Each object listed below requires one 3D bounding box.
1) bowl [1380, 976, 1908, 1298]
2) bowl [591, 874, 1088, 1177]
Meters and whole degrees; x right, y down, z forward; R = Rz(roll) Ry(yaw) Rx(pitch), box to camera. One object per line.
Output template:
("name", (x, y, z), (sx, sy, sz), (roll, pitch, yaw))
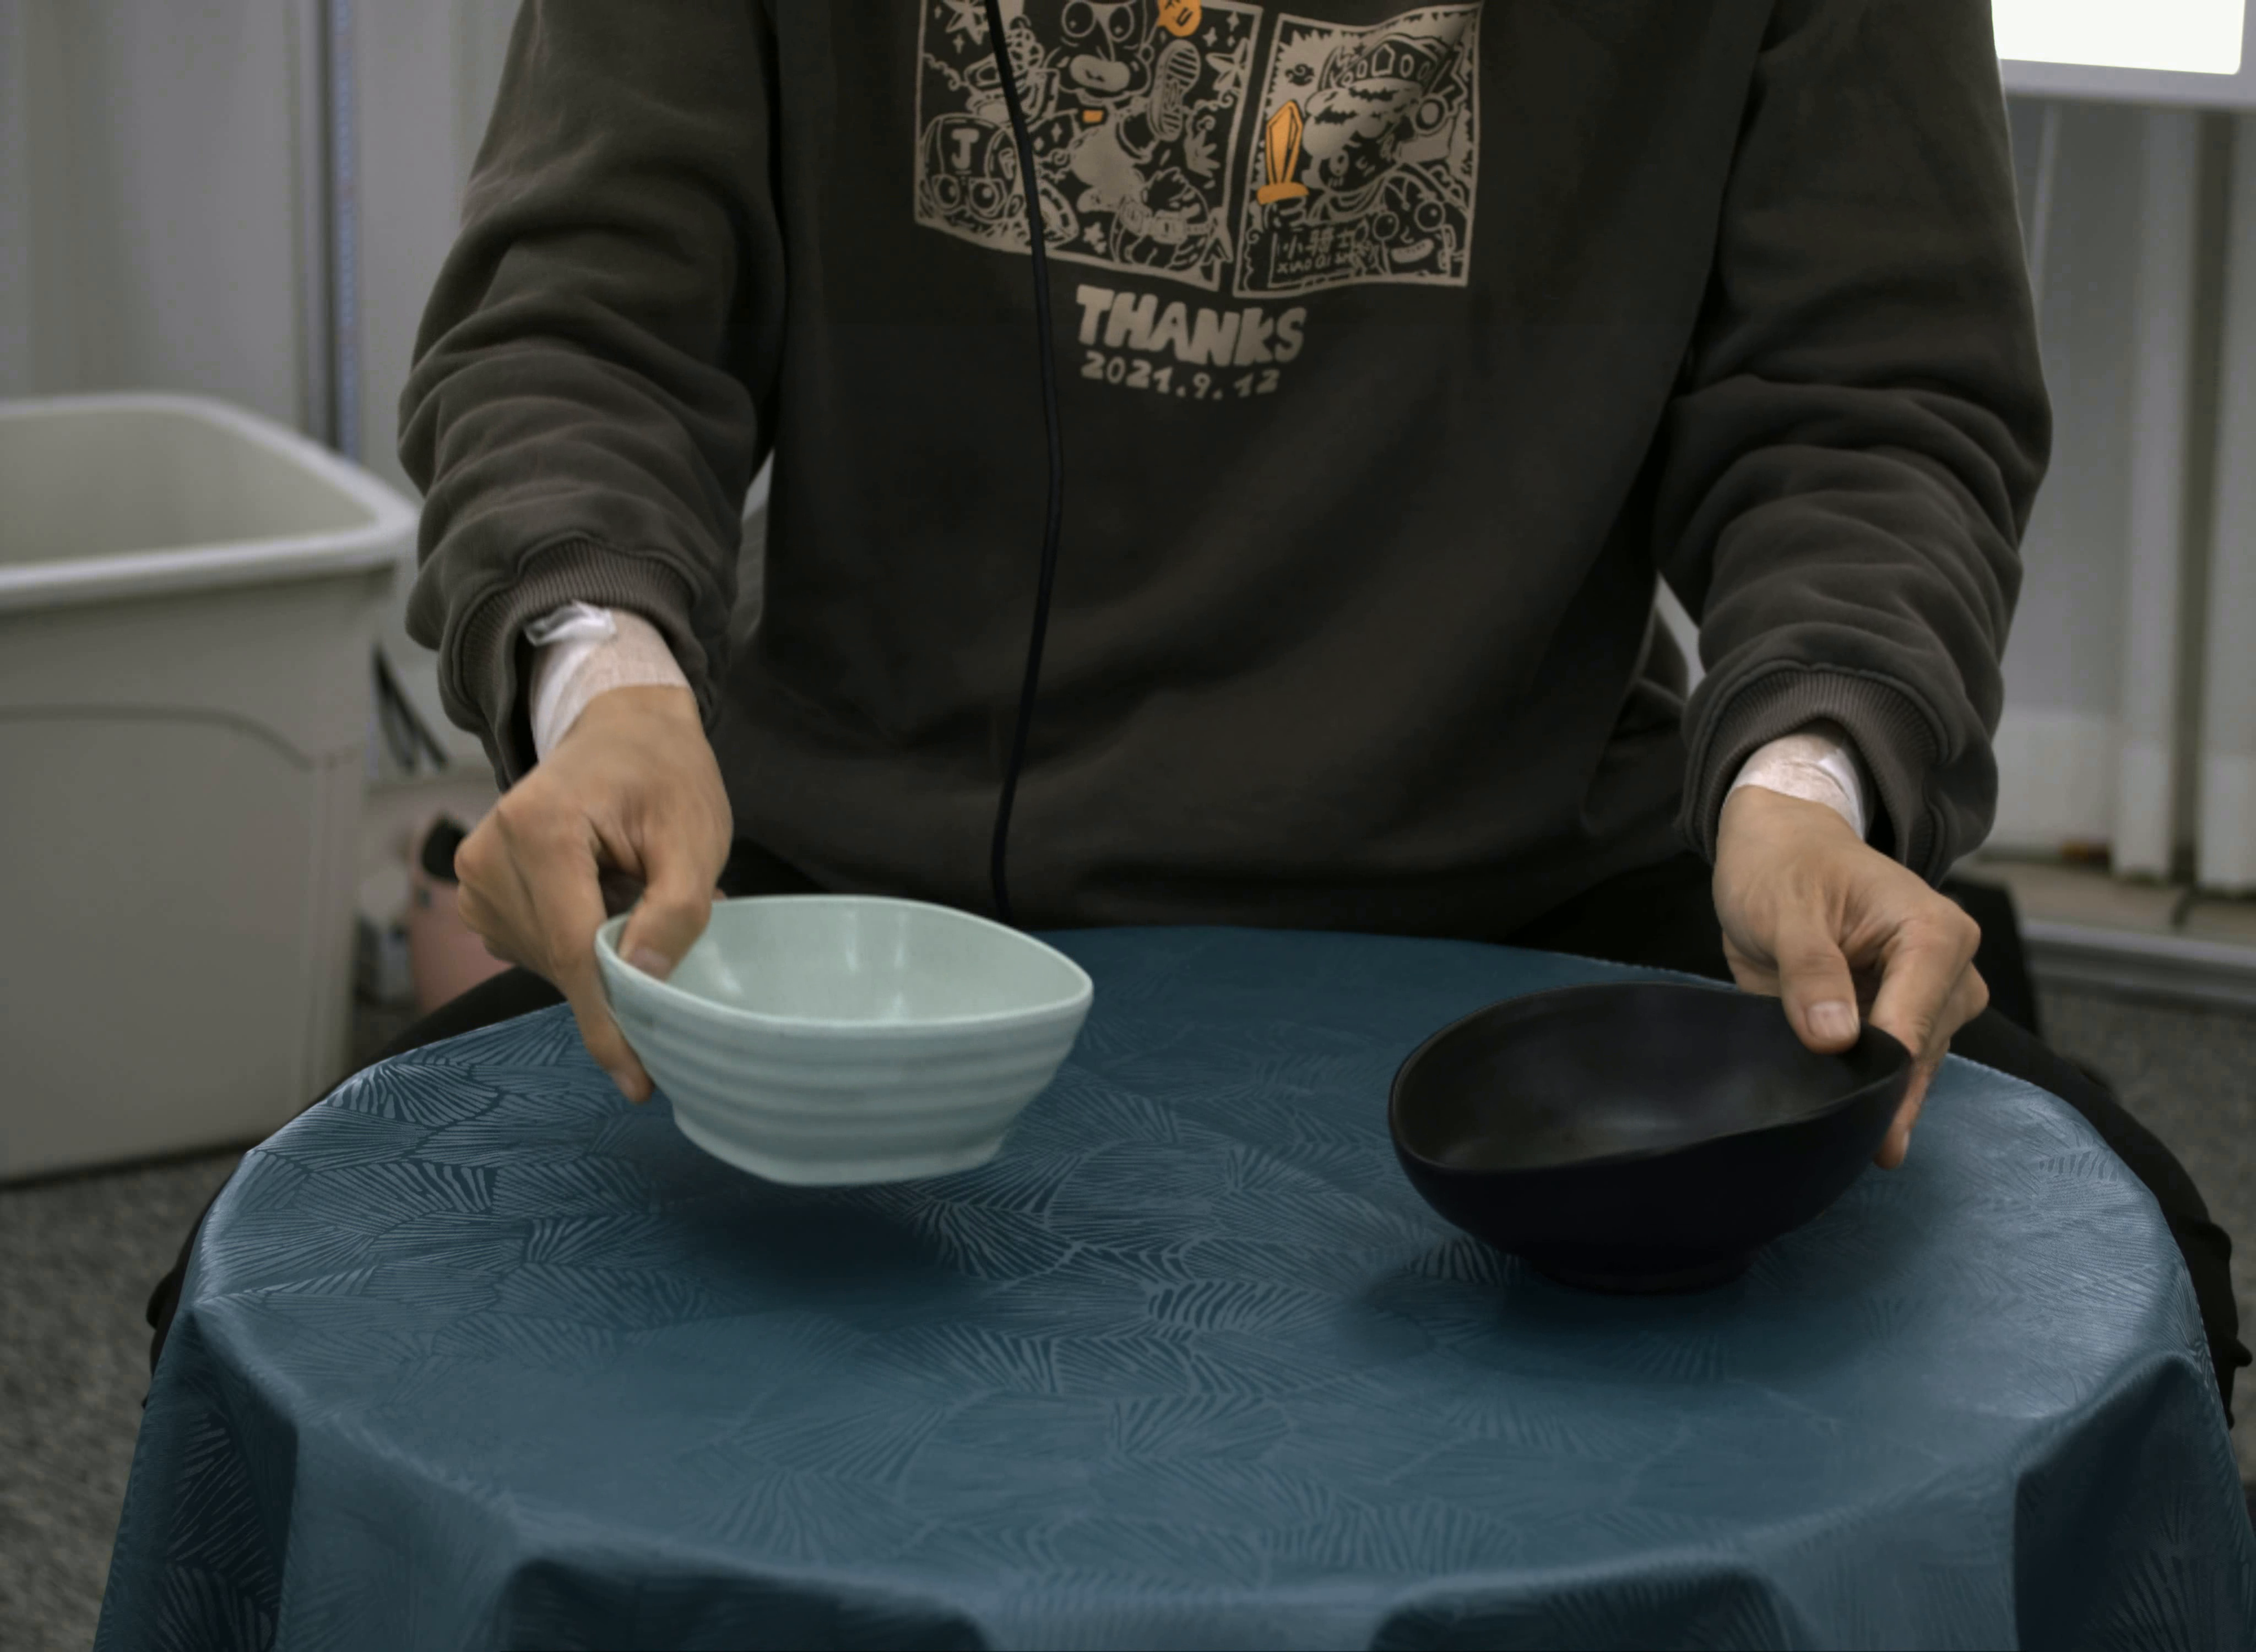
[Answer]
("bowl", (0.154, 0.098, 1.566), (0.171, 0.067, 0.135), (-15, 21, -37))
("bowl", (-0.088, 0.062, 1.573), (0.151, 0.059, 0.150), (6, 16, -1))
